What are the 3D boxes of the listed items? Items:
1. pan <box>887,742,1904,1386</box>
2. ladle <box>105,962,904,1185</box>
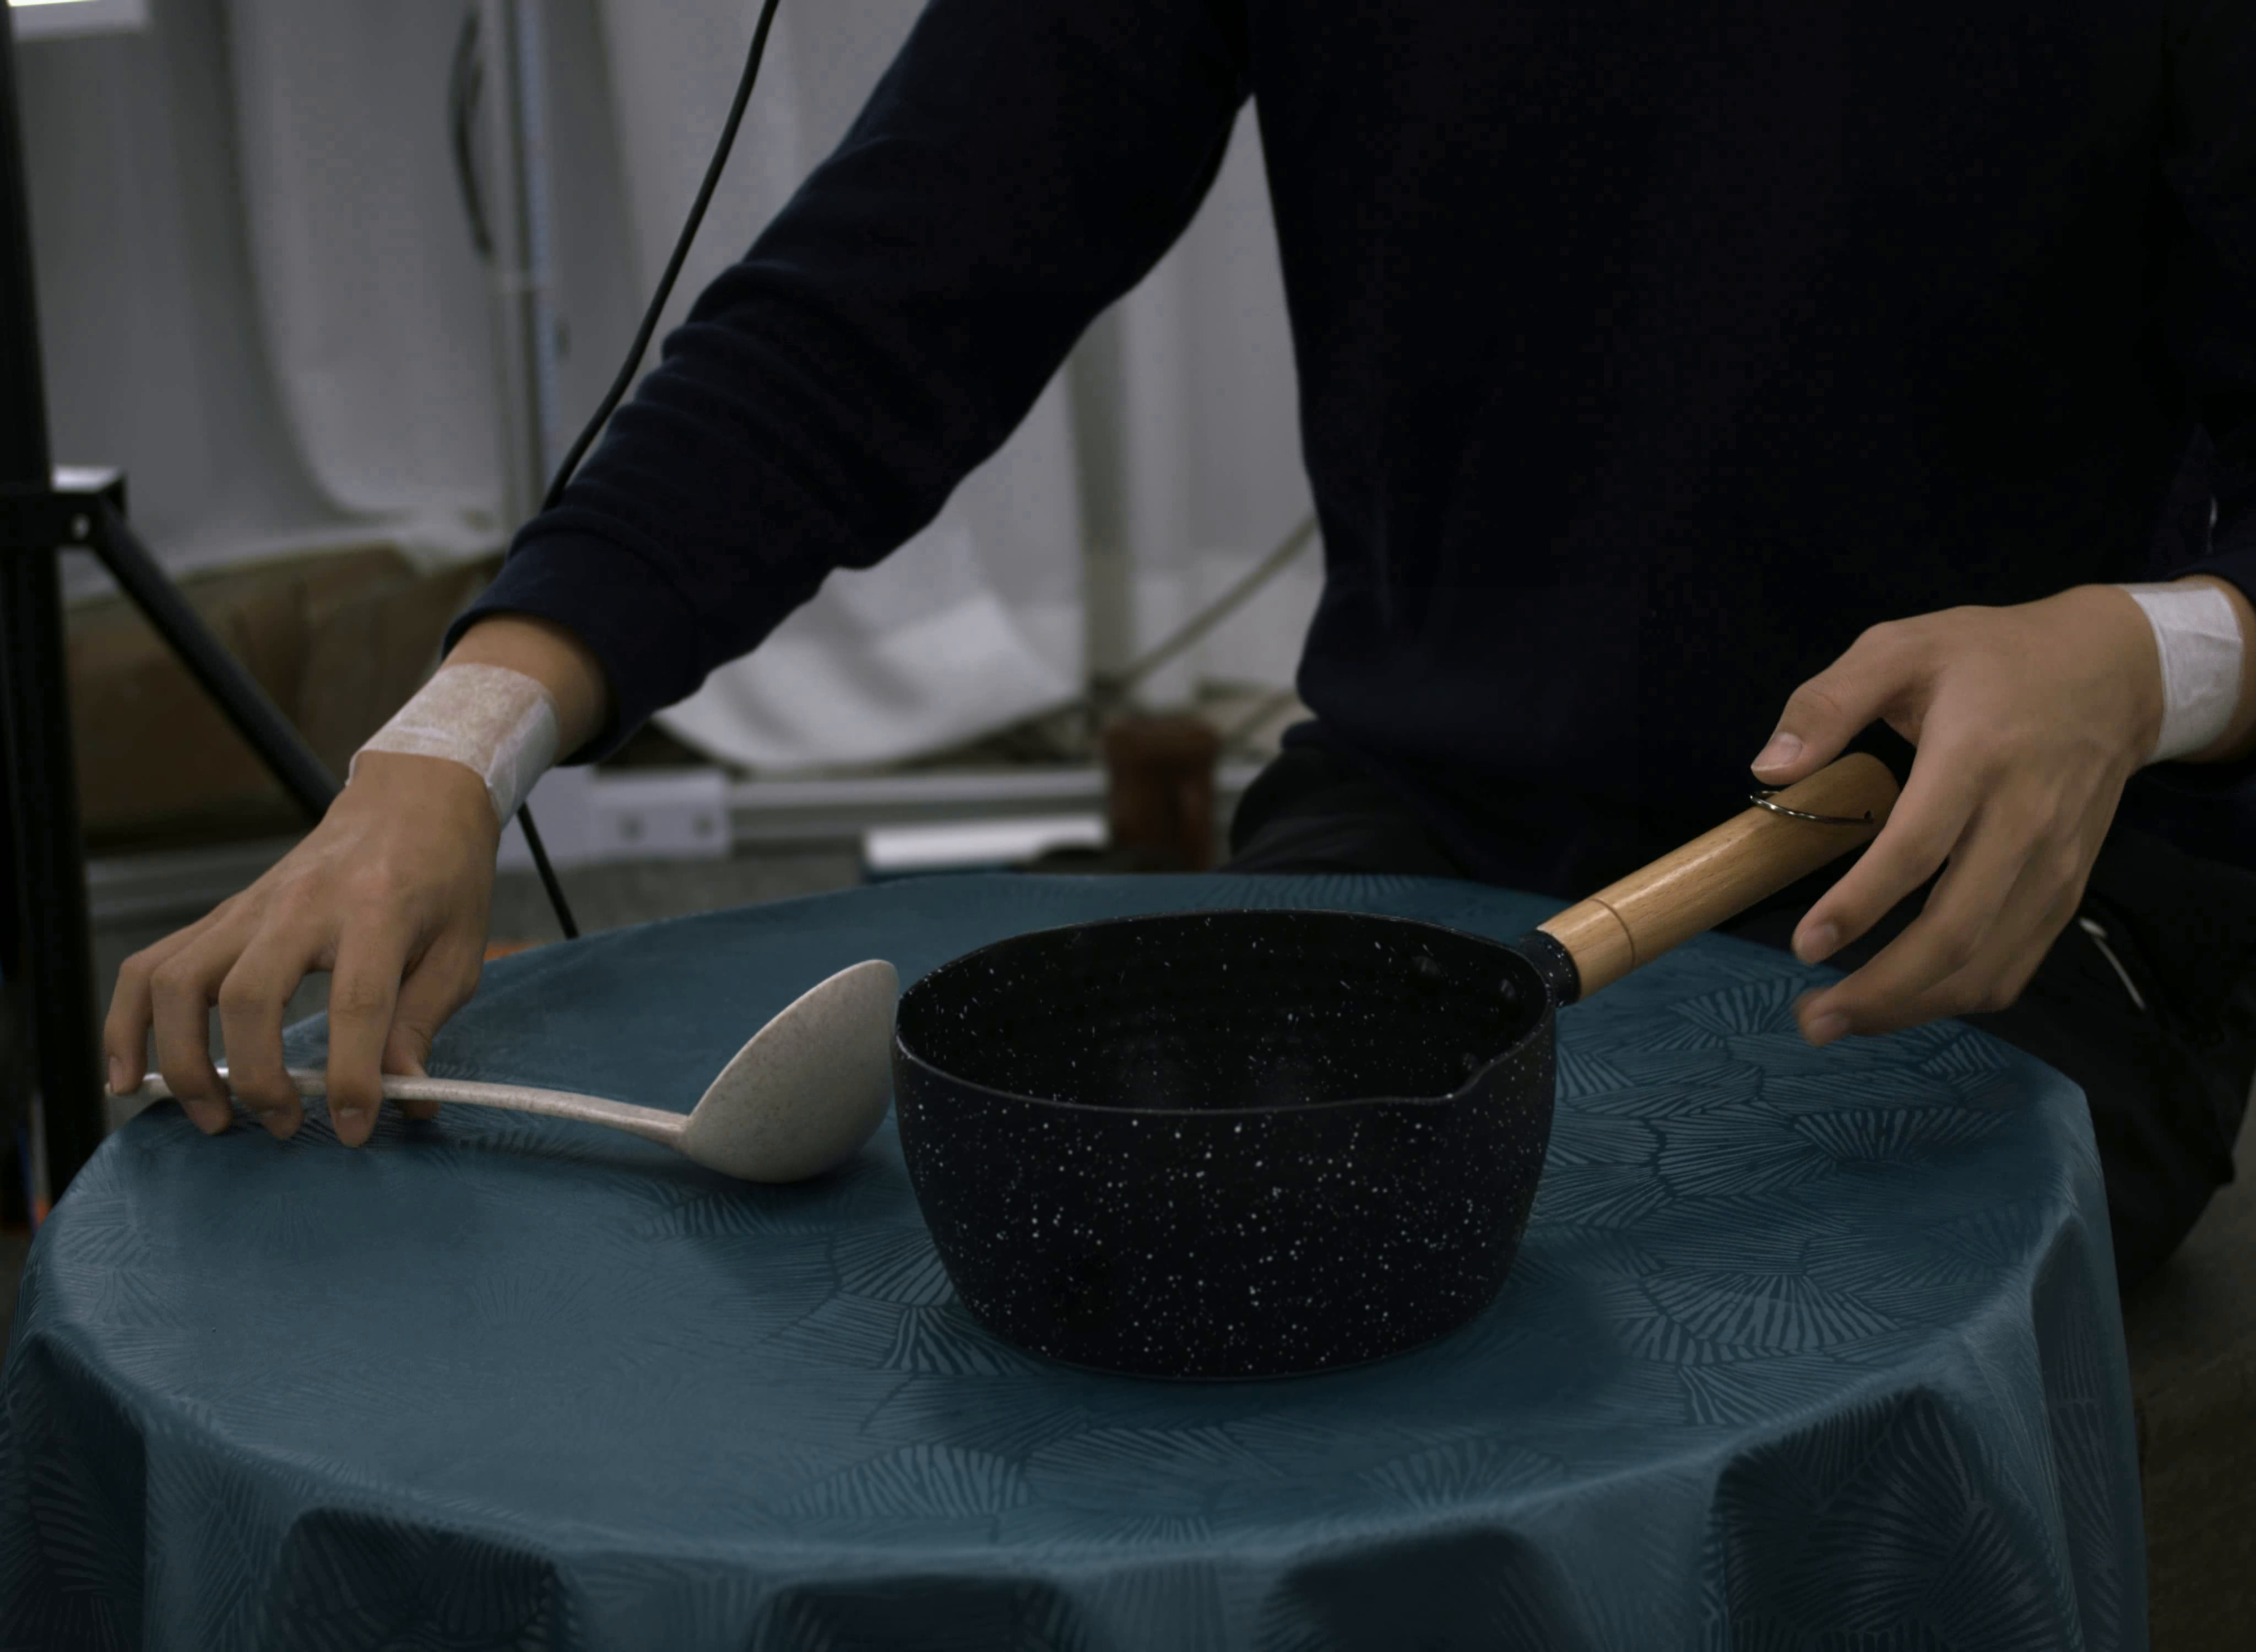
[{"bbox_3d":[0.090,0.062,1.506,0.335,0.108,0.212,-15,19,-33],"label":"pan"},{"bbox_3d":[-0.196,0.064,1.624,0.279,0.069,0.088,5,10,26],"label":"ladle"}]
